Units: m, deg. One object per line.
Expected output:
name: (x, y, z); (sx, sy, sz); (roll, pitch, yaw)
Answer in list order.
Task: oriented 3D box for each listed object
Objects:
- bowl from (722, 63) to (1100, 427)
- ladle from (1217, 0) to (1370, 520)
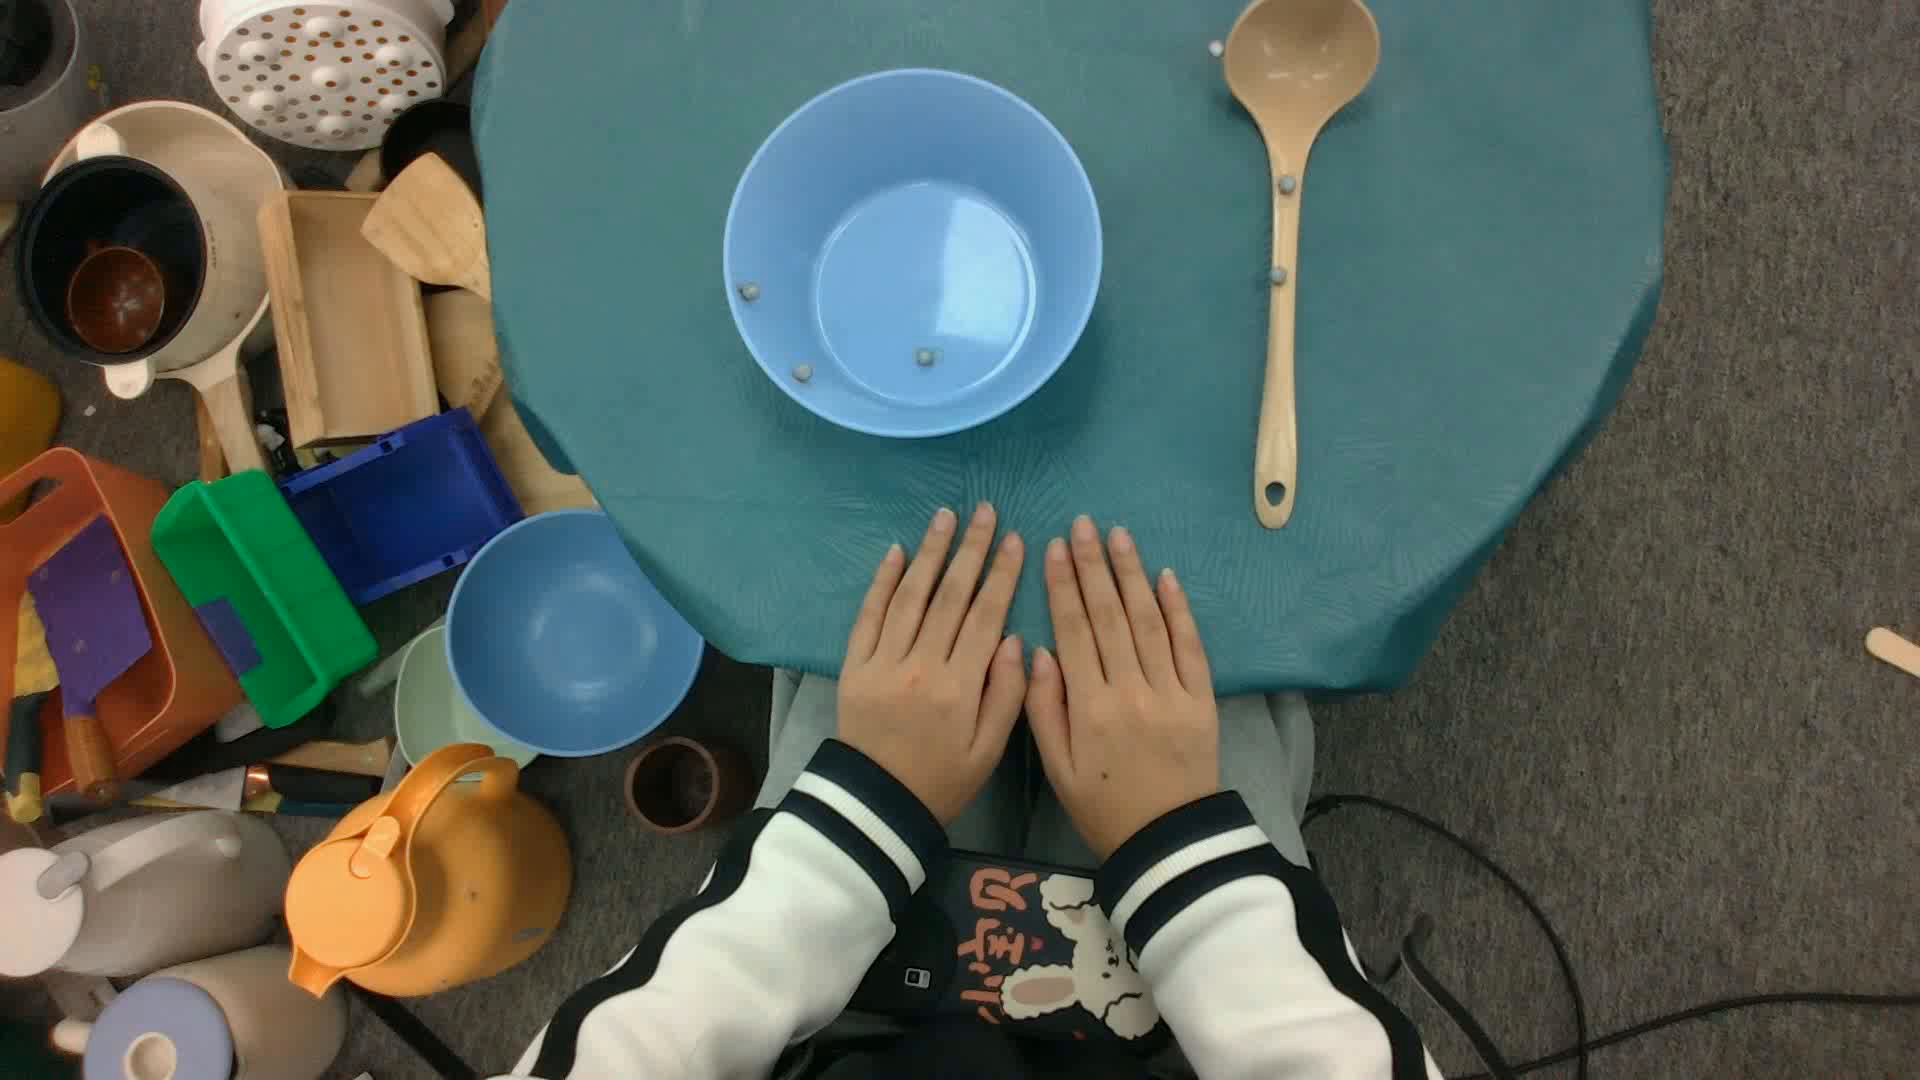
bowl: (-0.021, -0.133, 0.665); (0.176, 0.070, 0.176); (-1, 81, 5)
ladle: (0.157, -0.140, 0.652); (0.072, 0.073, 0.255); (1, 81, 5)
